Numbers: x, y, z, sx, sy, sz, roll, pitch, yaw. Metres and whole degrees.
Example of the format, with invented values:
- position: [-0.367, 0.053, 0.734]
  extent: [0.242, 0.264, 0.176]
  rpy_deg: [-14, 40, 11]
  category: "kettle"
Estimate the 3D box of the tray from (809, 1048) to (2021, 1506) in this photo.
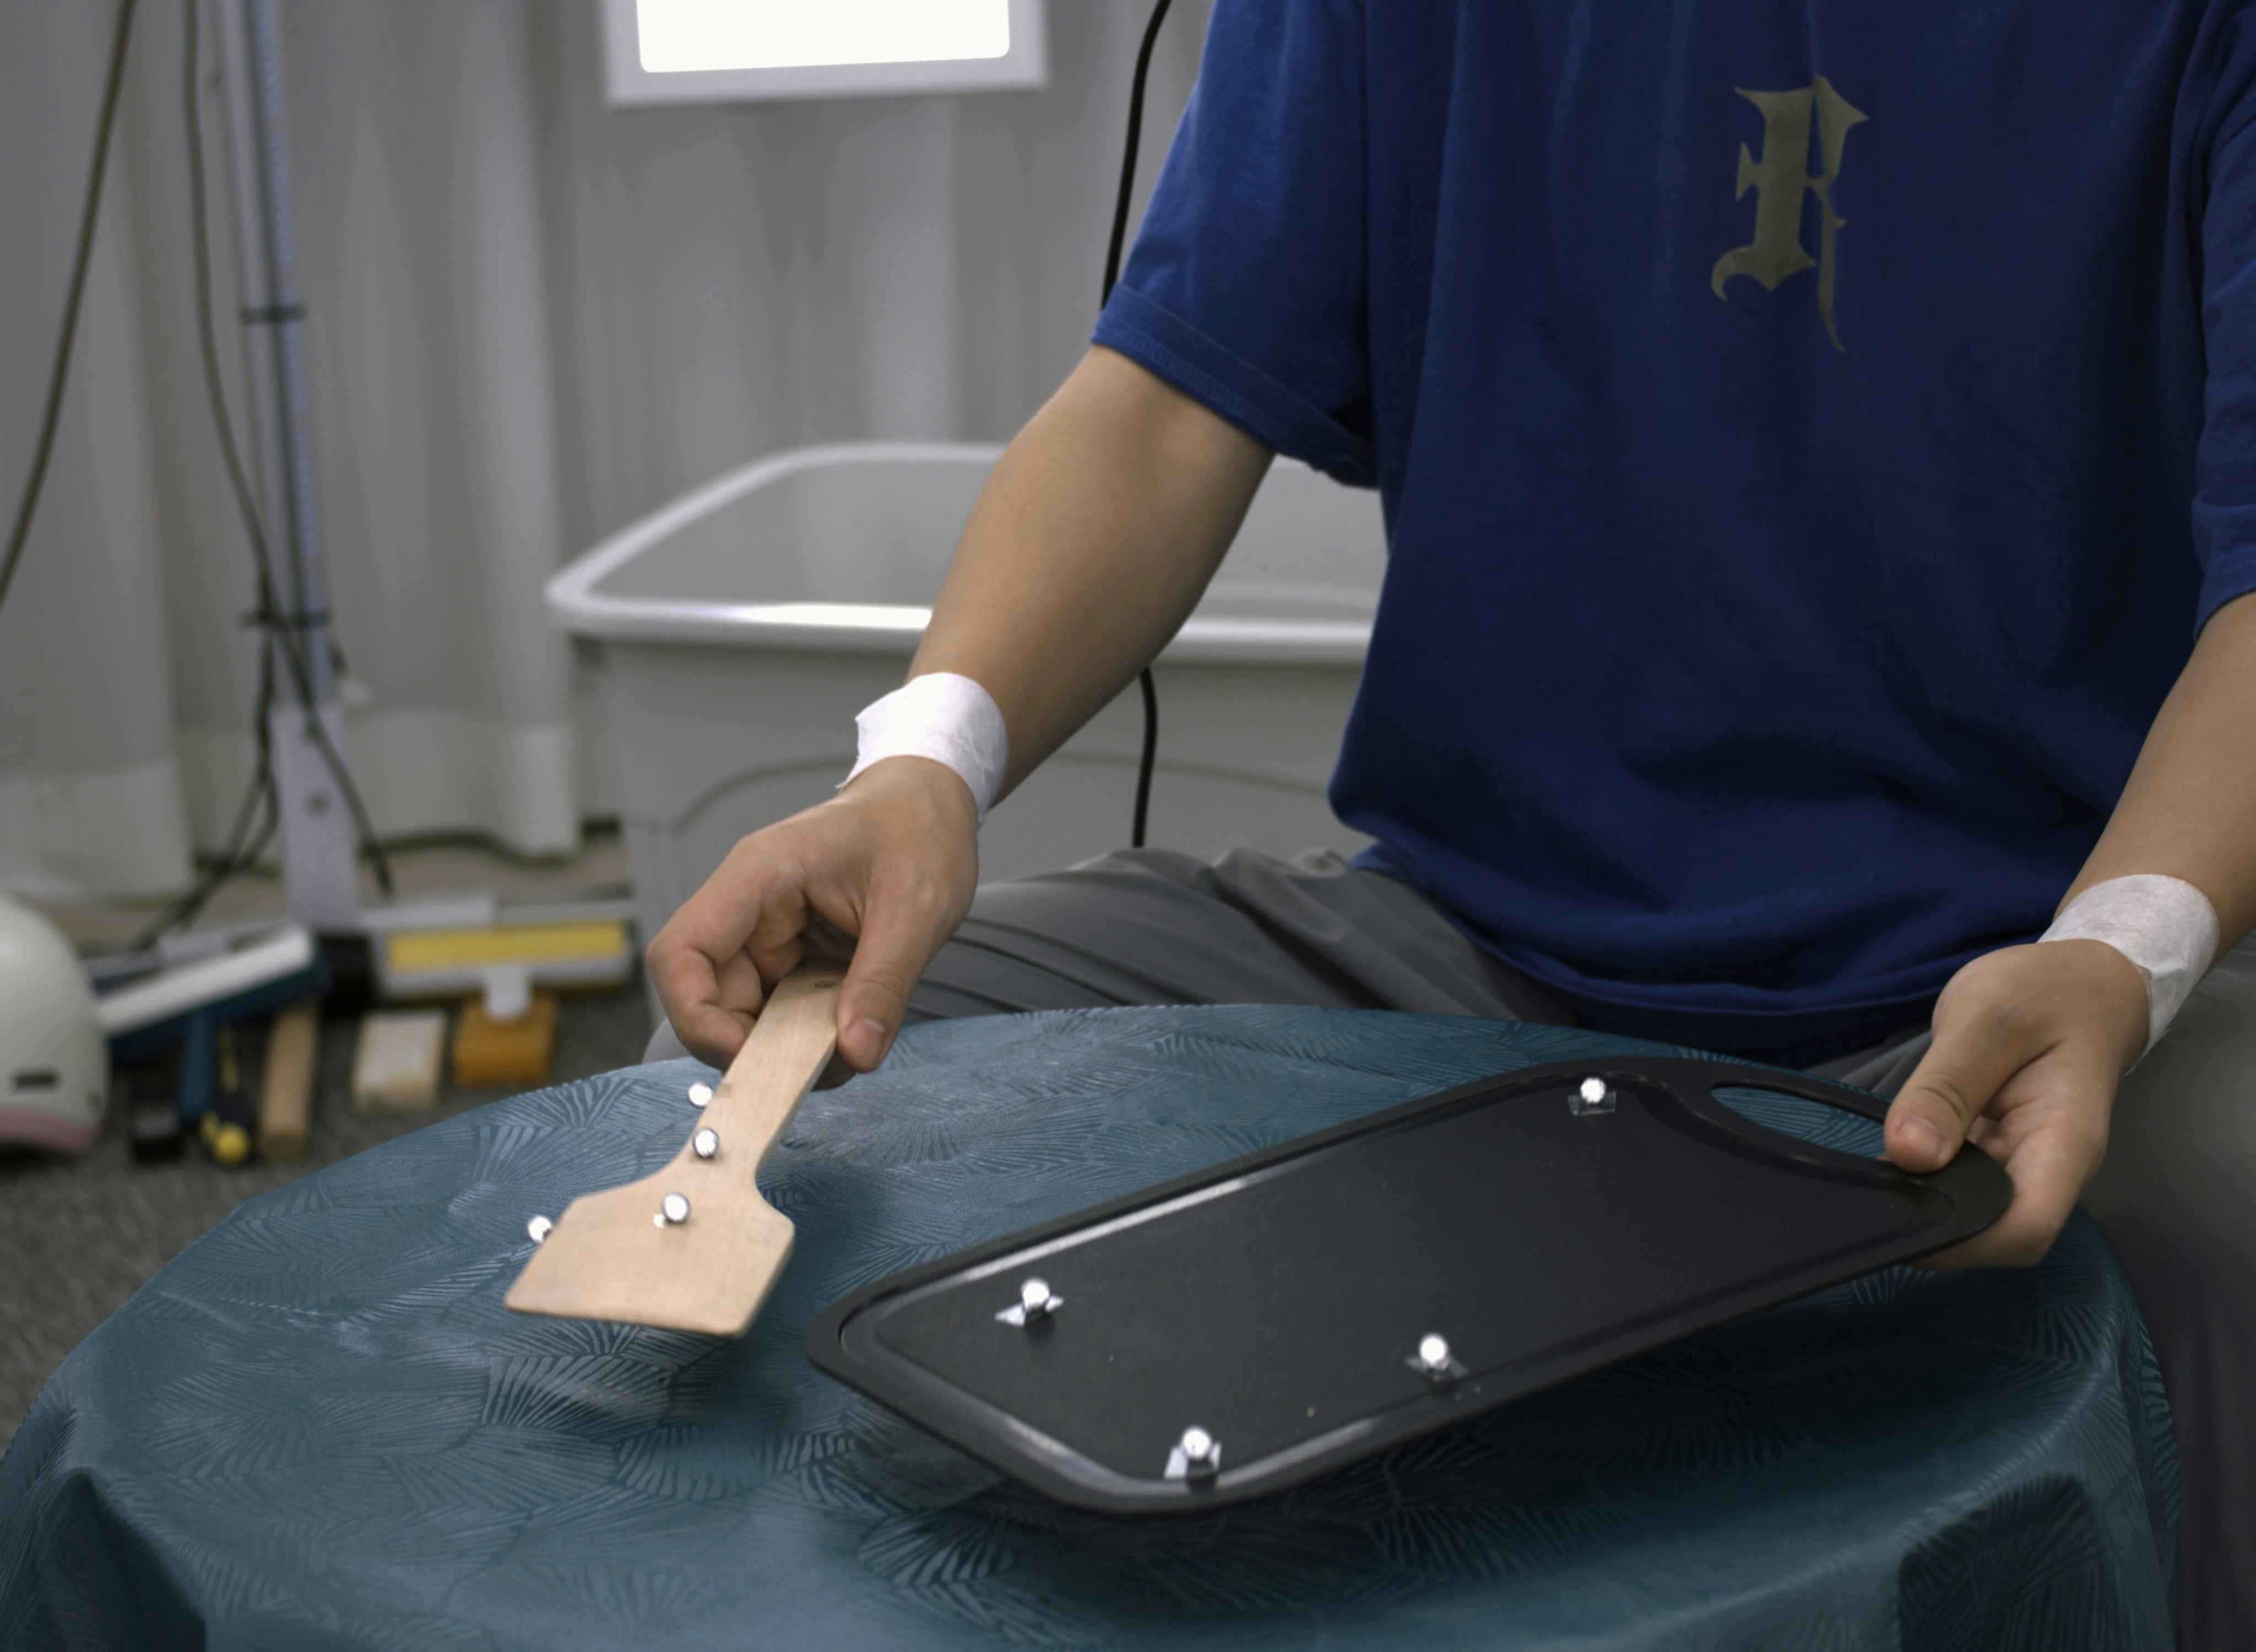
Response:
- position: [0.085, 0.115, 1.512]
  extent: [0.324, 0.010, 0.212]
  rpy_deg: [-16, 18, -27]
  category: "tray"

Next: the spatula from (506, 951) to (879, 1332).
- position: [-0.119, 0.092, 1.663]
  extent: [0.072, 0.010, 0.295]
  rpy_deg: [5, 20, 8]
  category: "spatula"
